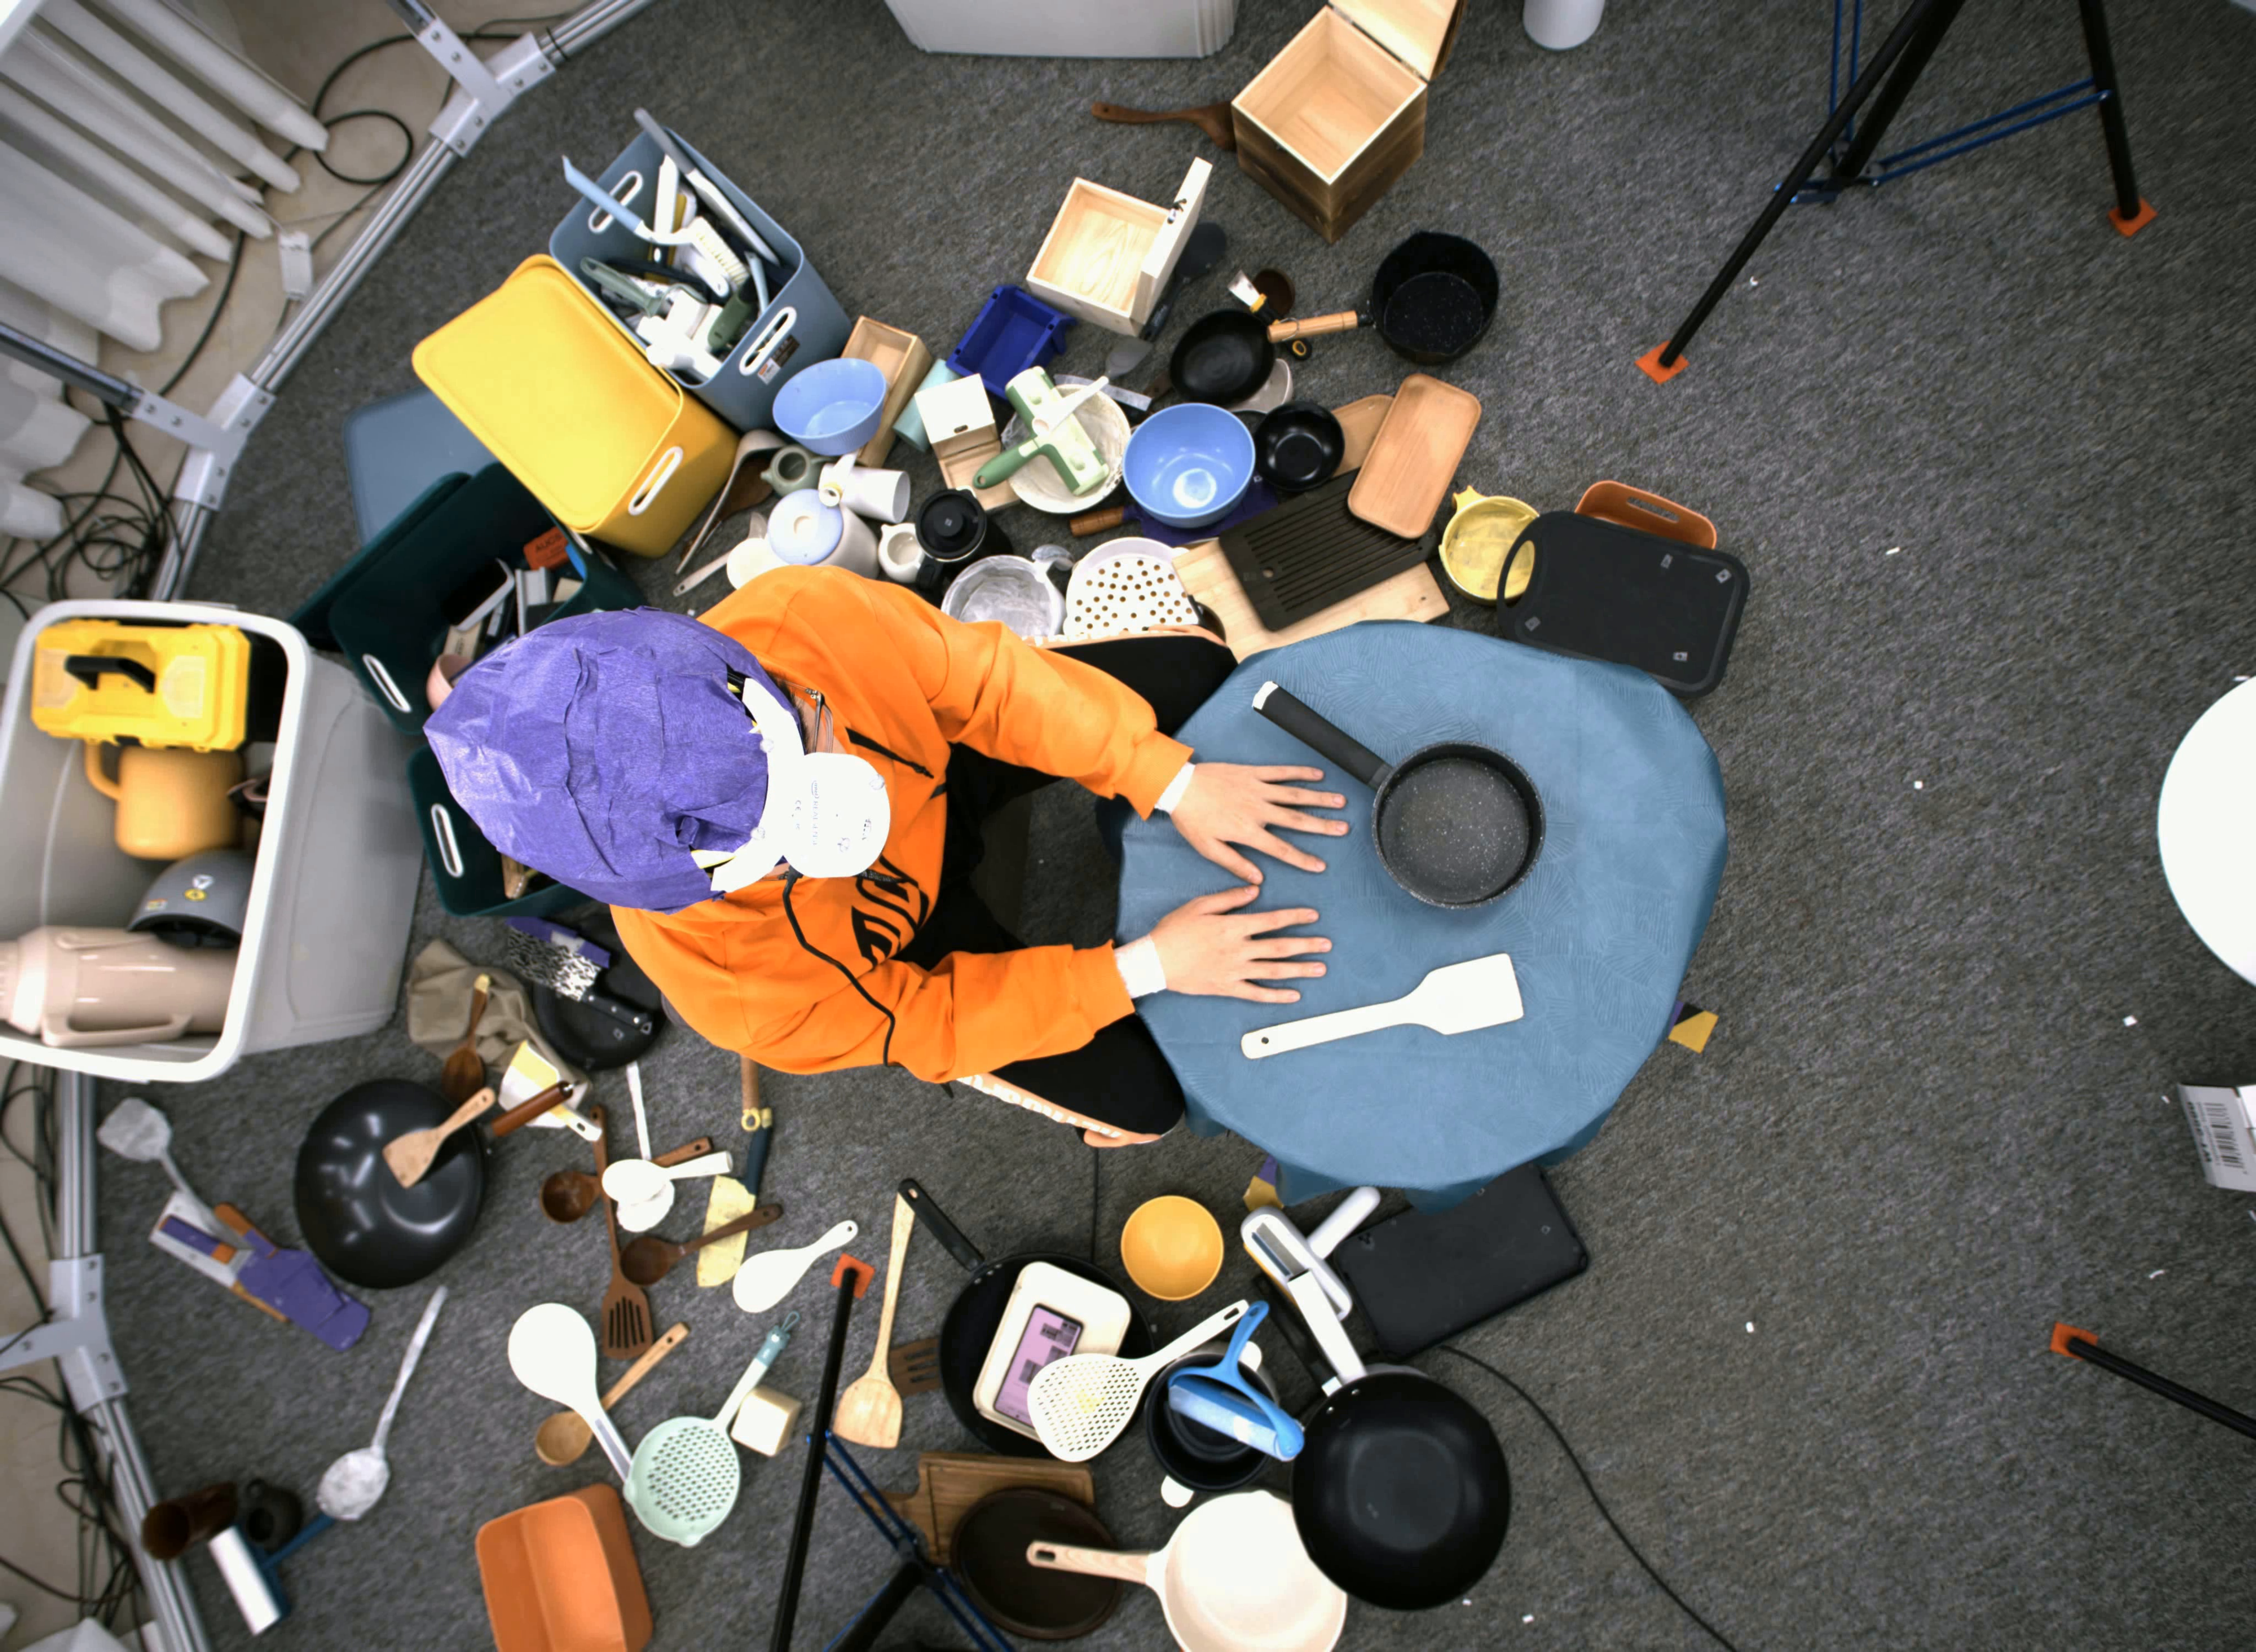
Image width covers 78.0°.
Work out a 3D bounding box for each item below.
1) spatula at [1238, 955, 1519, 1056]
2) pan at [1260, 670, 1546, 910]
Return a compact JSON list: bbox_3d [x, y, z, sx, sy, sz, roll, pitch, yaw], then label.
[{"bbox_3d":[0.259,0.199,1.450,0.294,0.010,0.072,-14,88,10],"label":"spatula"},{"bbox_3d":[0.274,-0.047,1.423,0.328,0.086,0.172,37,93,9],"label":"pan"}]
